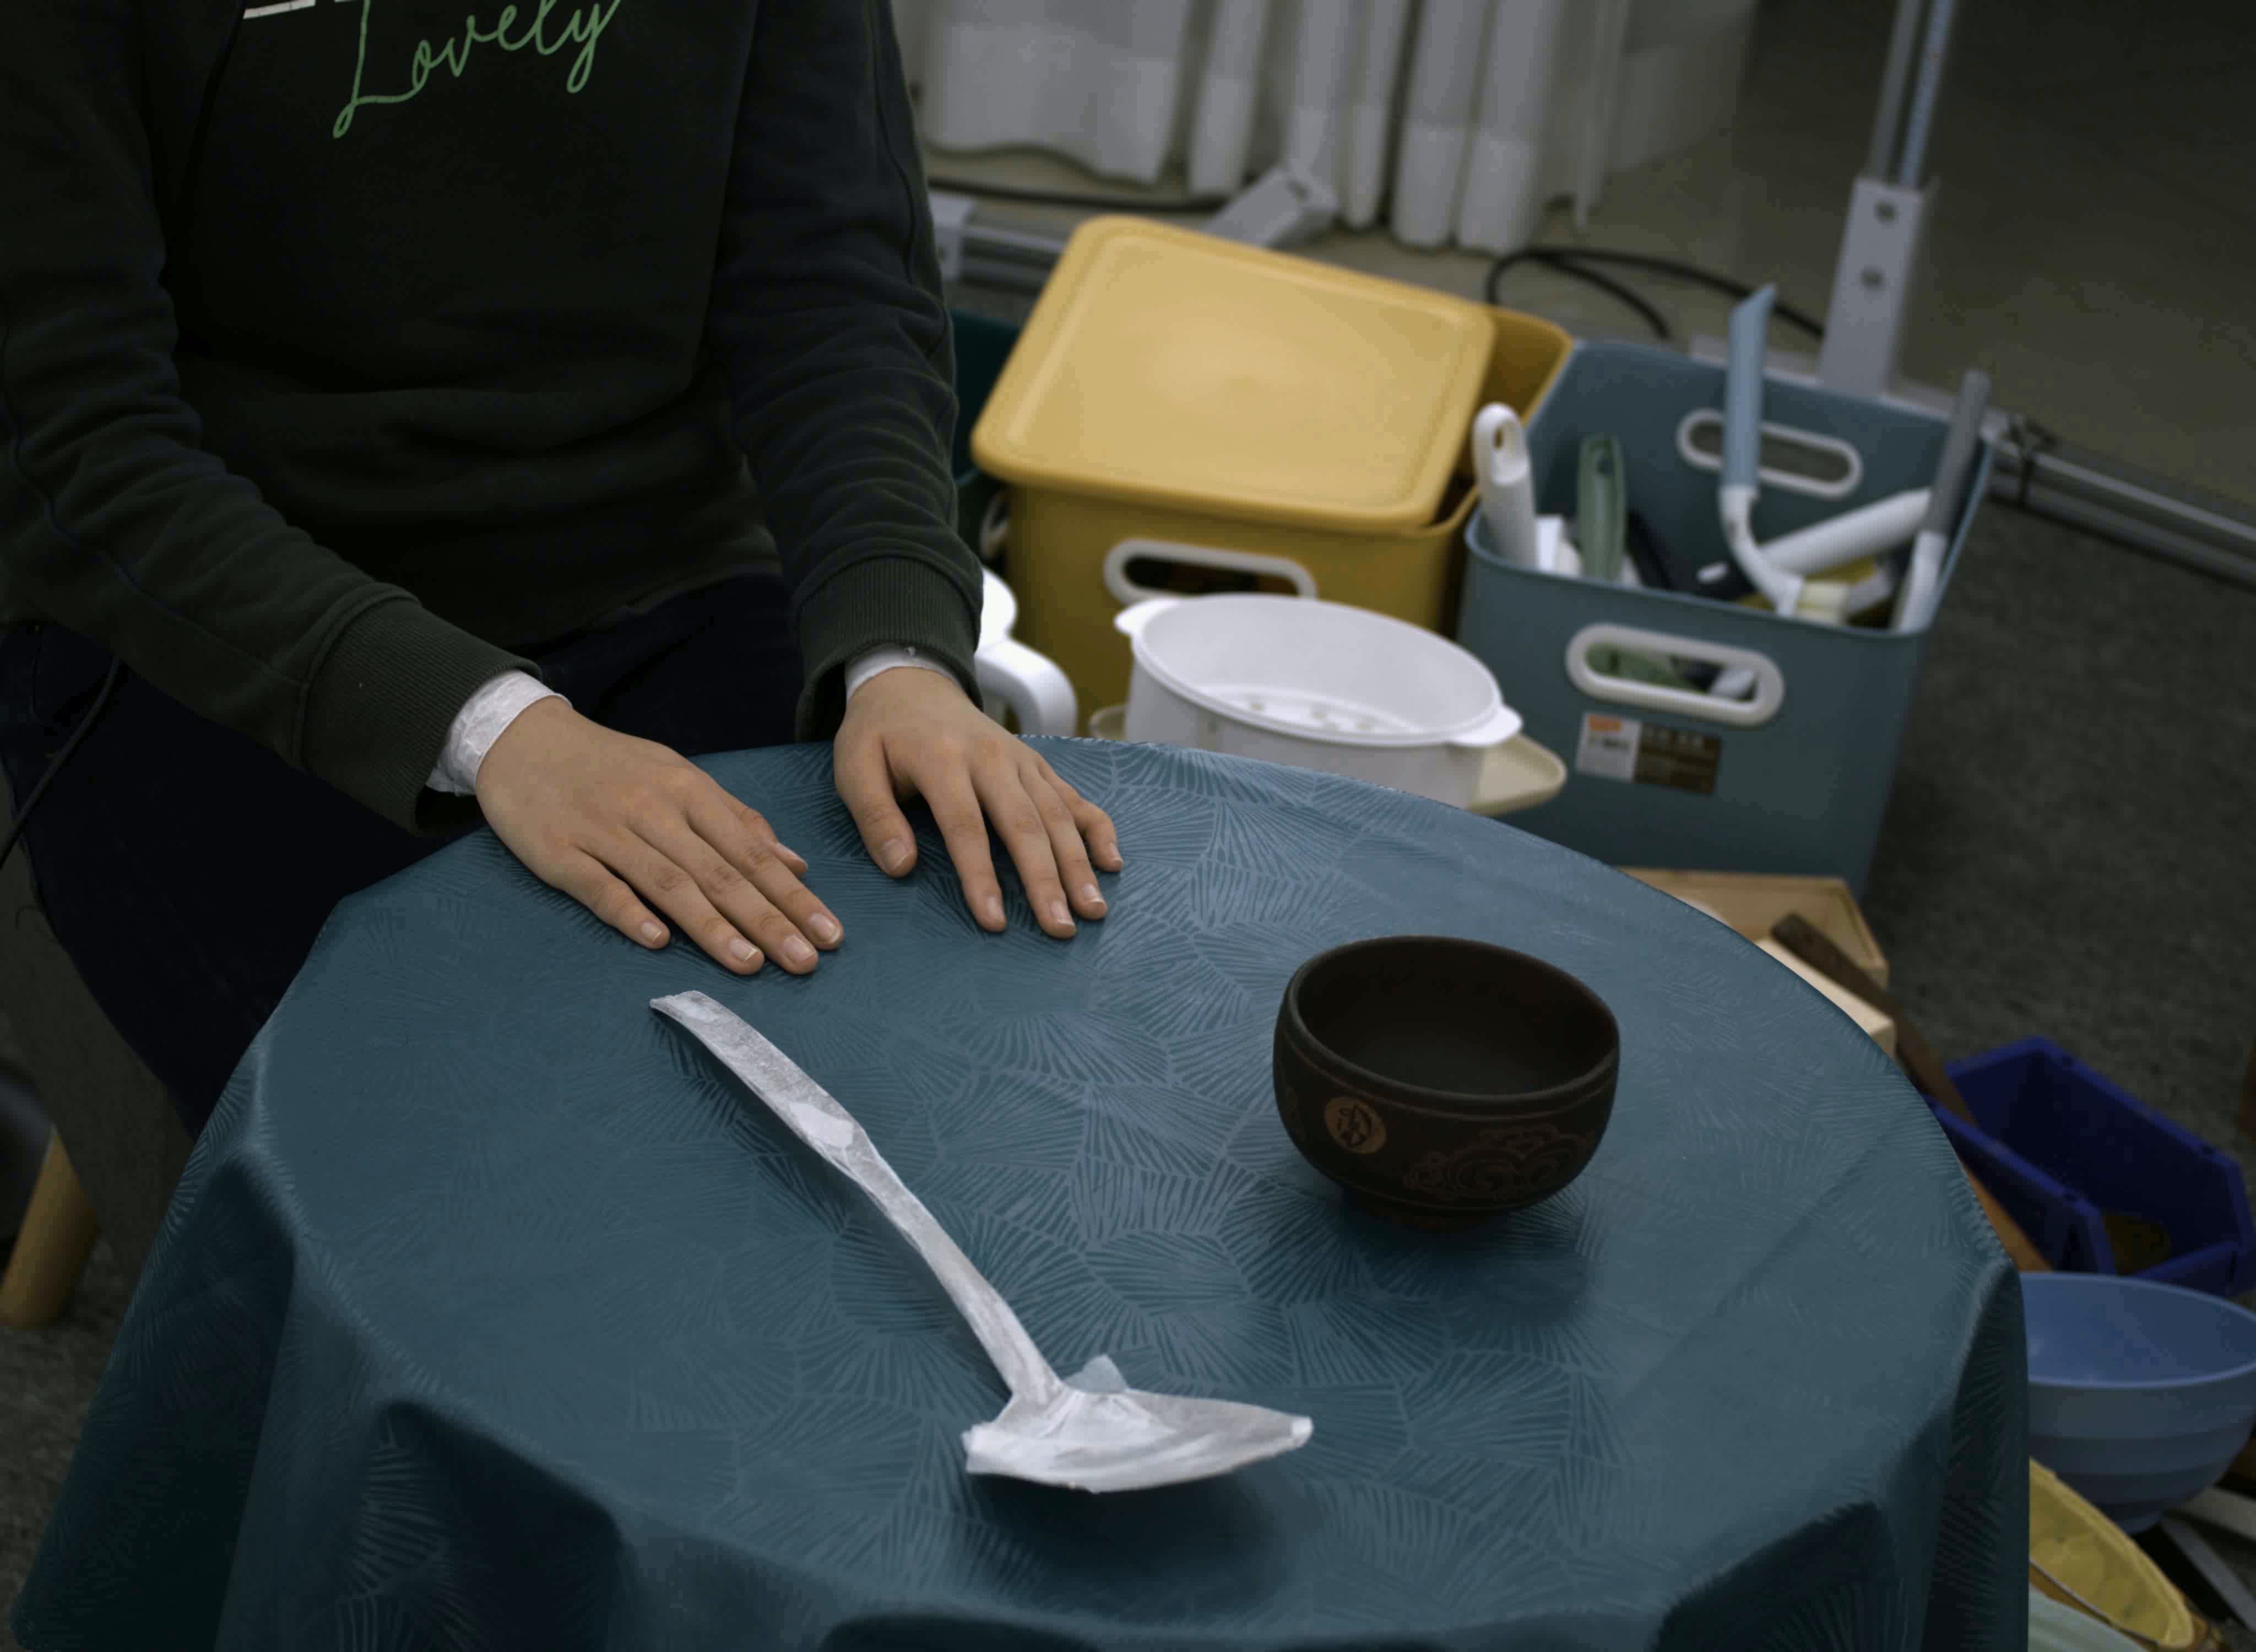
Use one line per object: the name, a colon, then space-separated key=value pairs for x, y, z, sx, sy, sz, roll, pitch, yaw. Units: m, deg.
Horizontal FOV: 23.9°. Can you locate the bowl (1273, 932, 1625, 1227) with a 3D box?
bowl: x=0.106 y=0.092 z=1.807 sx=0.117 sy=0.069 sz=0.119 roll=6 pitch=25 yaw=-3

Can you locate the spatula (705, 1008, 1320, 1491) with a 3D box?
spatula: x=-0.062 y=0.129 z=1.732 sx=0.098 sy=0.044 sz=0.368 roll=-10 pitch=31 yaw=-27
